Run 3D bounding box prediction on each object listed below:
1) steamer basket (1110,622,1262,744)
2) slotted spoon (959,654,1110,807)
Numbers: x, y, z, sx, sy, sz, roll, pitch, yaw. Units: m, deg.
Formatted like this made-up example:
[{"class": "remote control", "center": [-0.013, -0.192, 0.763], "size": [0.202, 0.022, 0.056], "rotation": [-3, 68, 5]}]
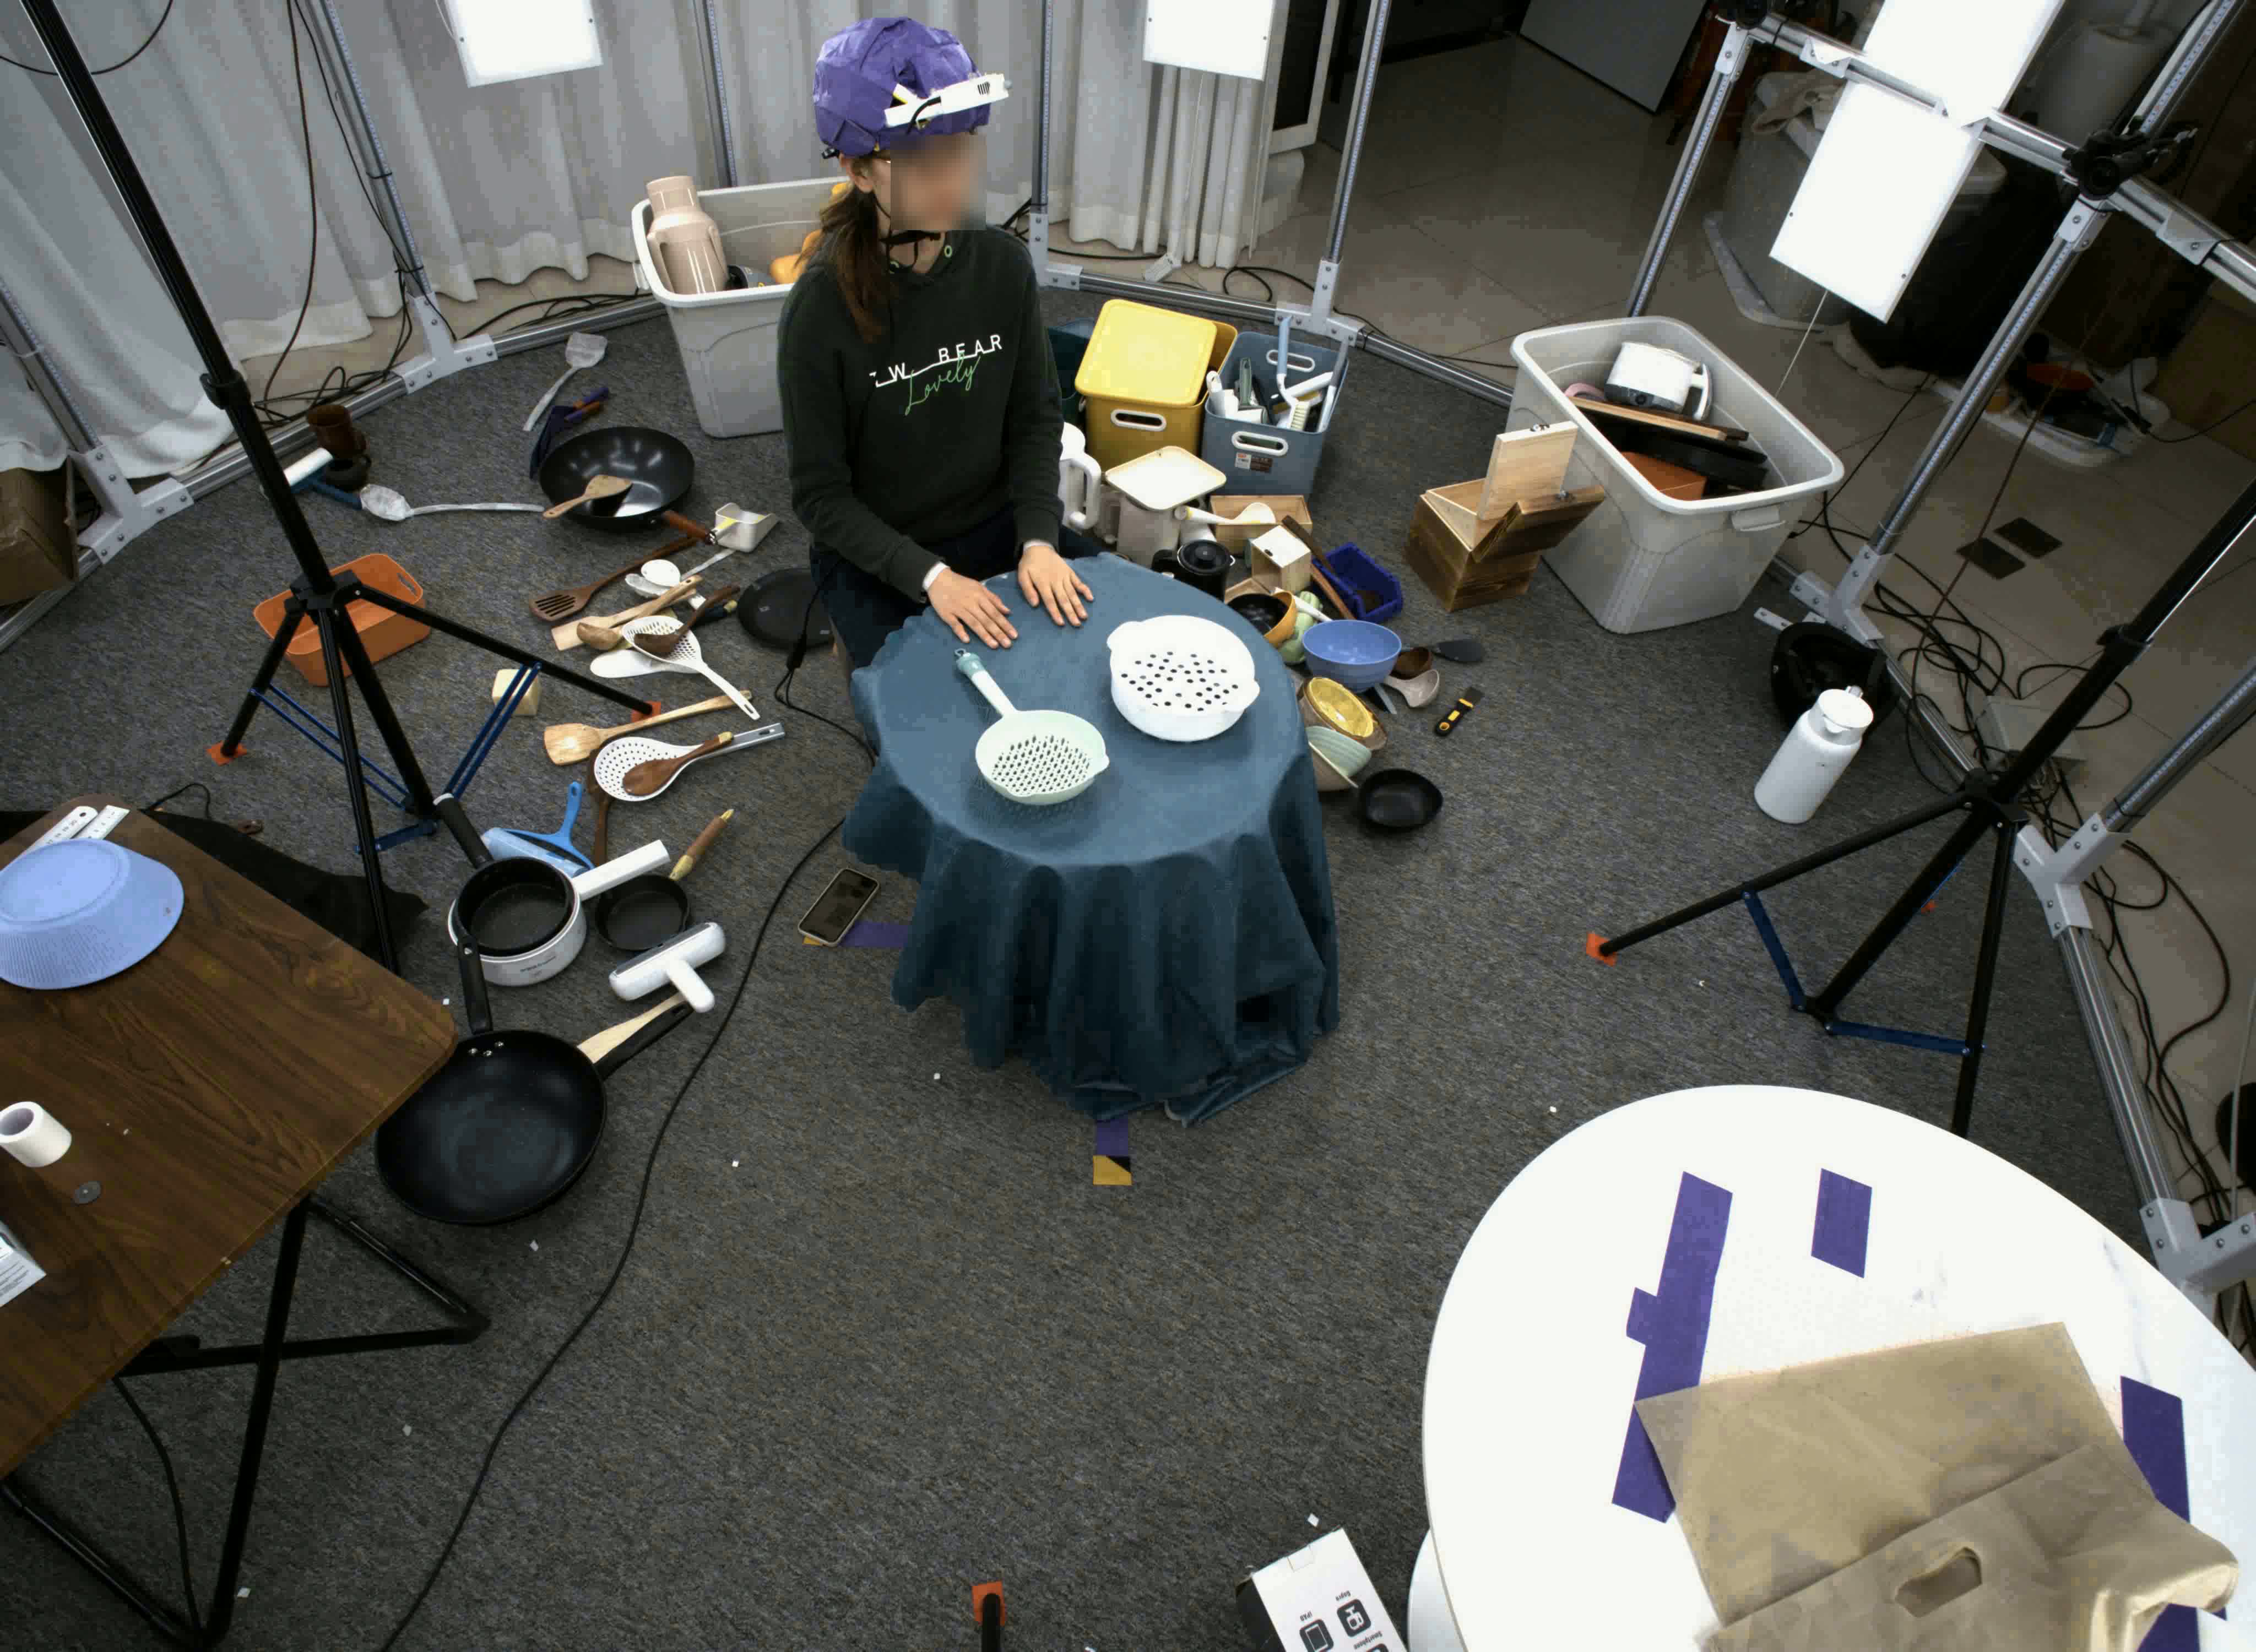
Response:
[{"class": "steamer basket", "center": [0.079, -0.203, 1.825], "size": [0.233, 0.067, 0.205], "rotation": [28, 52, 20]}, {"class": "slotted spoon", "center": [-0.159, -0.147, 1.760], "size": [0.169, 0.073, 0.367], "rotation": [-19, 53, -20]}]
